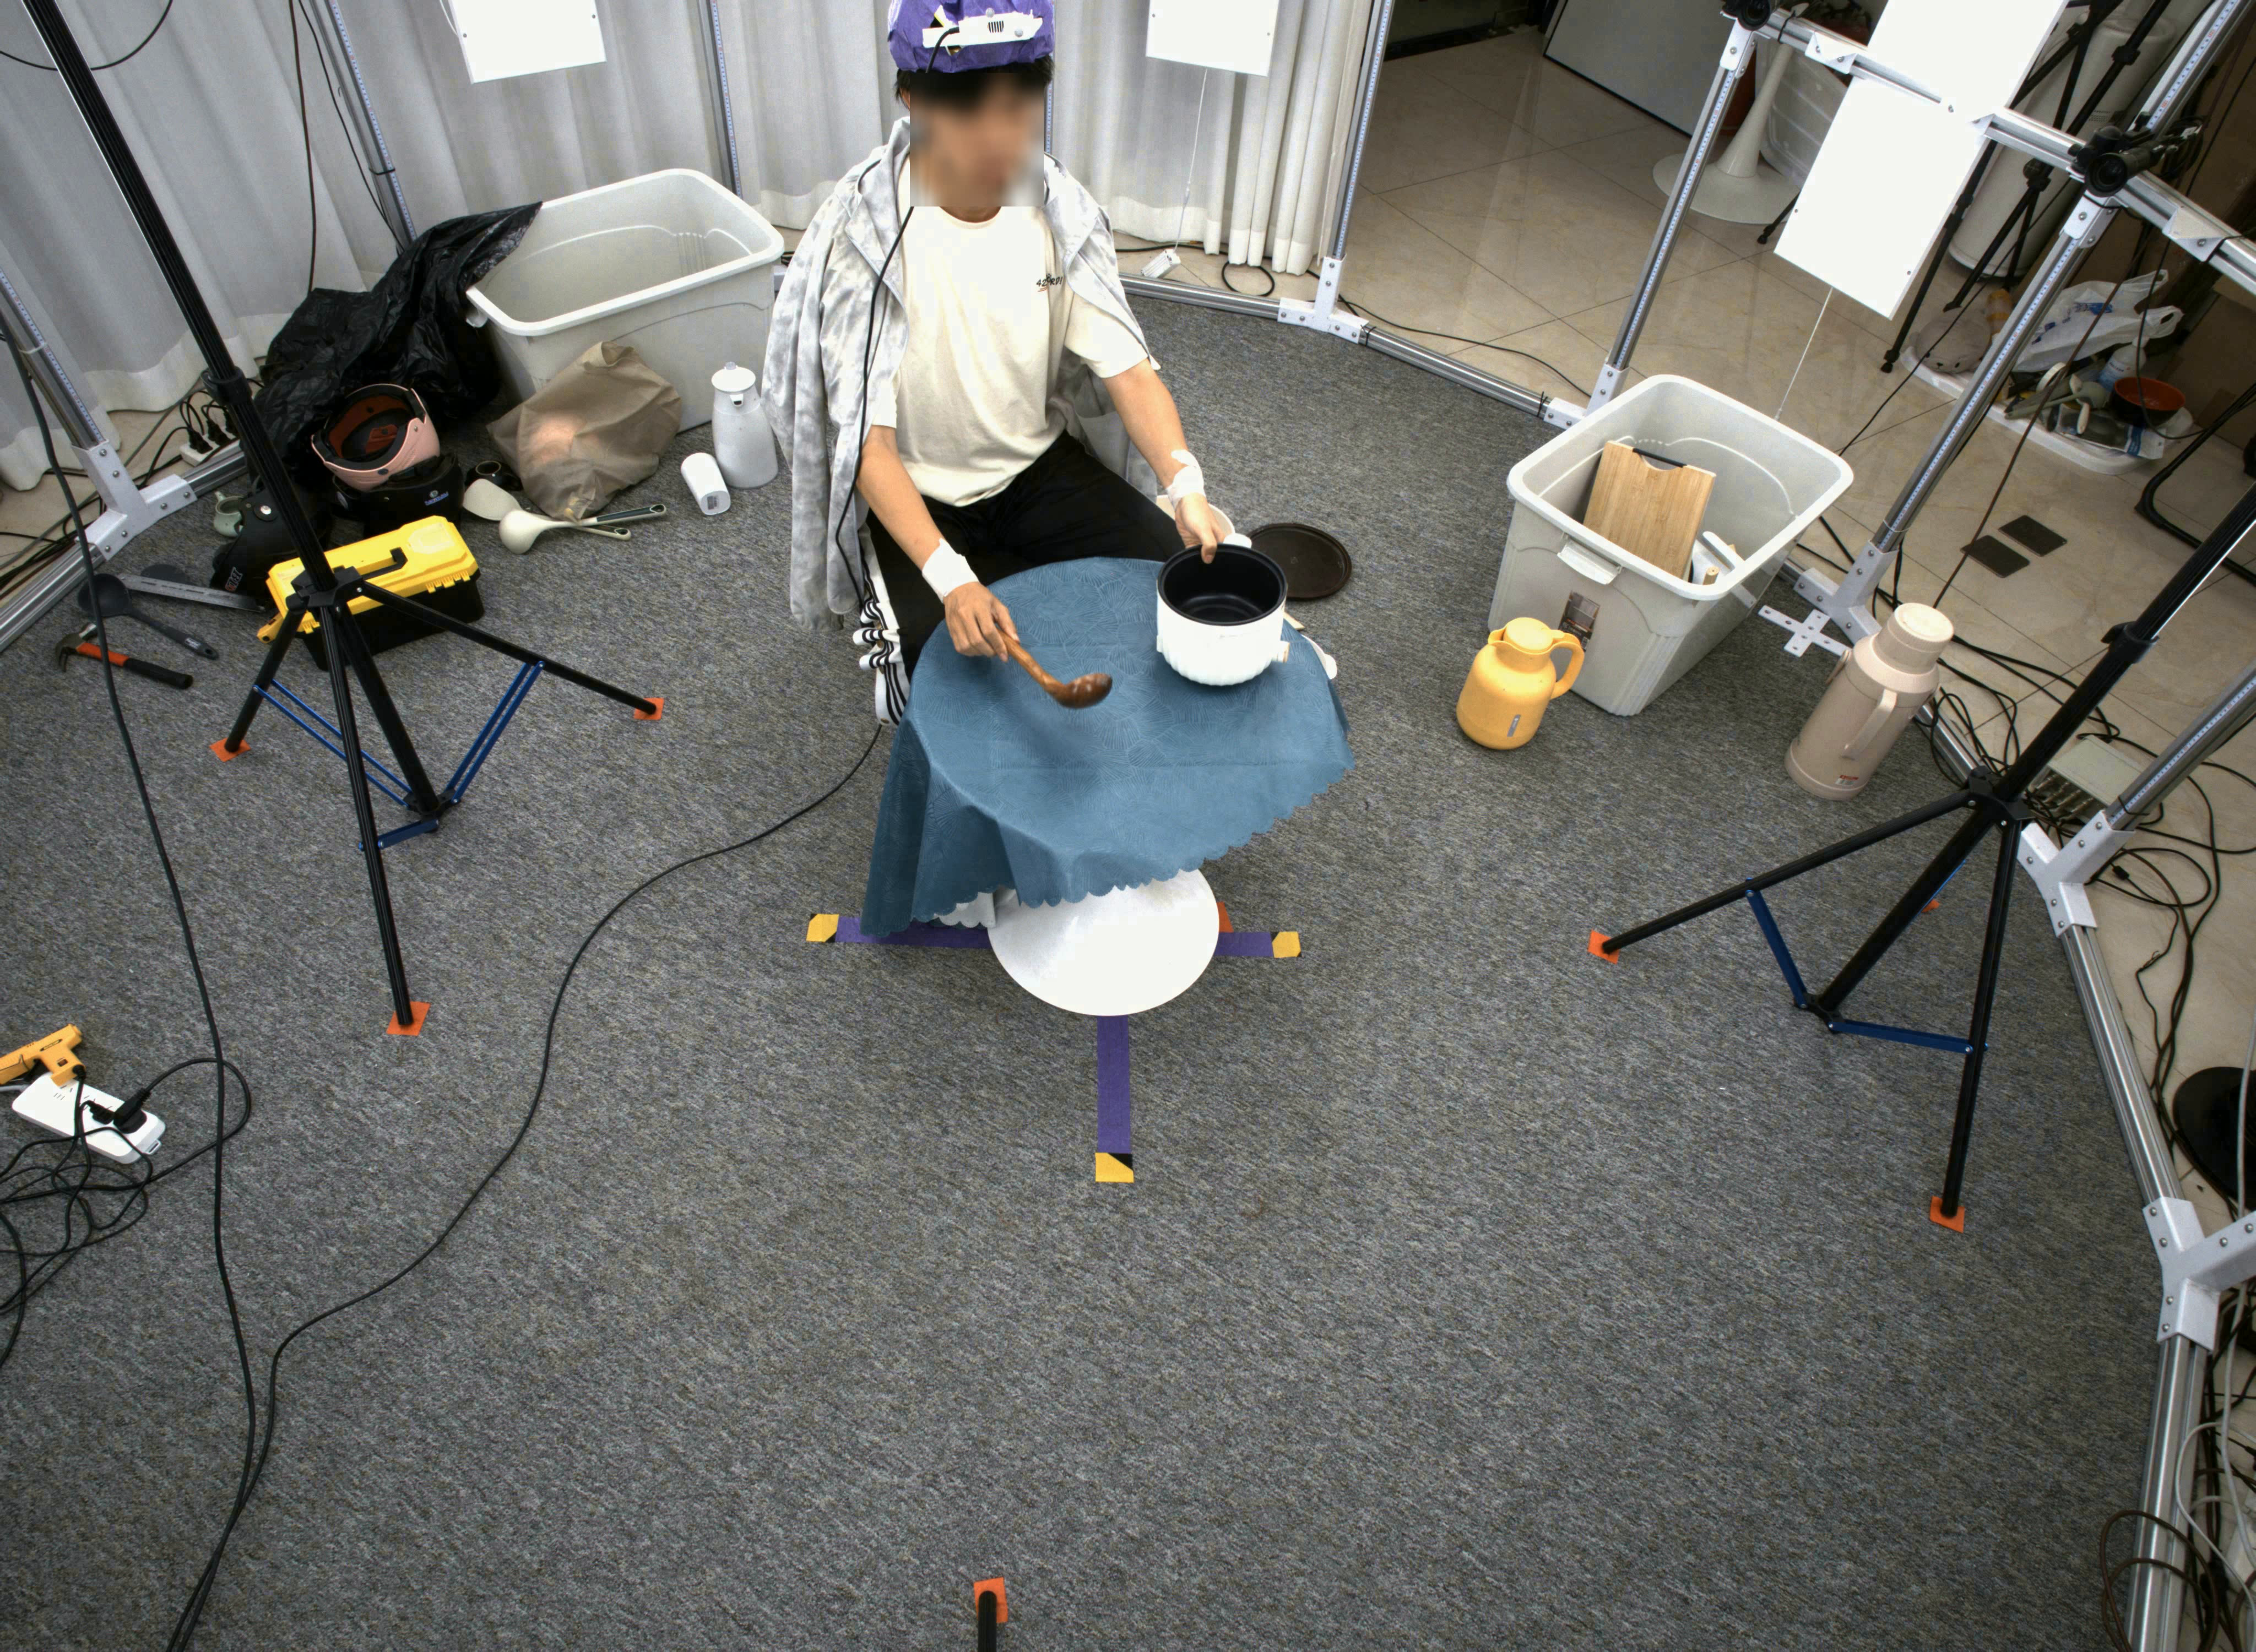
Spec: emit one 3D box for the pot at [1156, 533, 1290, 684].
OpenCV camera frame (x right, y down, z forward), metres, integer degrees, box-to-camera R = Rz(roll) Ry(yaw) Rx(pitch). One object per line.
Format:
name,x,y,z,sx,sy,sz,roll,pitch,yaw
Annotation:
pot,0.137,-0.297,1.833,0.191,0.139,0.245,8,49,13

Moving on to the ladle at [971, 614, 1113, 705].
ladle,-0.124,-0.246,1.745,0.081,0.075,0.279,-2,36,-45
